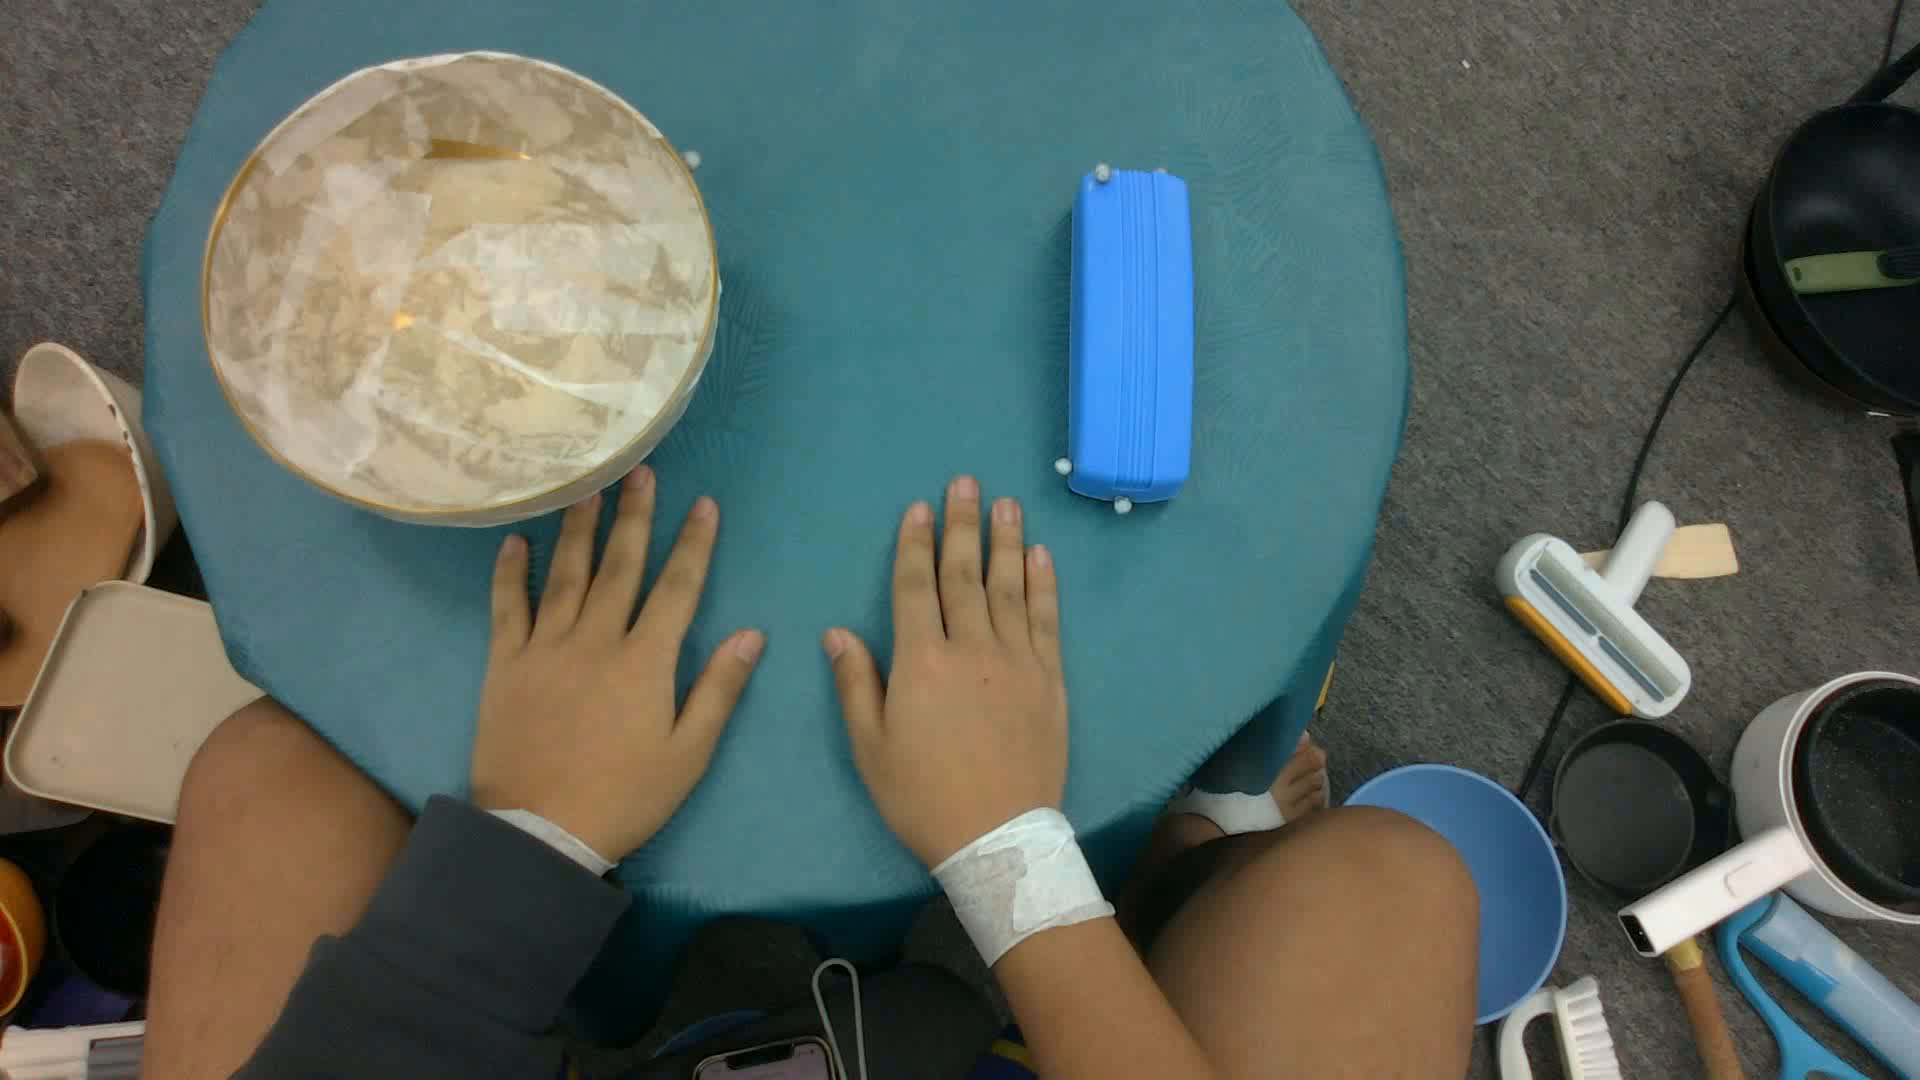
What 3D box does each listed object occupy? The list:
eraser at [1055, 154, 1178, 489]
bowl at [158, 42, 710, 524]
[{"bbox_3d":[0.073,-0.107,0.648,0.054,0.047,0.162,3,74,-7],"label":"eraser"},{"bbox_3d":[-0.210,-0.097,0.589,0.215,0.094,0.215,2,74,-7],"label":"bowl"}]
